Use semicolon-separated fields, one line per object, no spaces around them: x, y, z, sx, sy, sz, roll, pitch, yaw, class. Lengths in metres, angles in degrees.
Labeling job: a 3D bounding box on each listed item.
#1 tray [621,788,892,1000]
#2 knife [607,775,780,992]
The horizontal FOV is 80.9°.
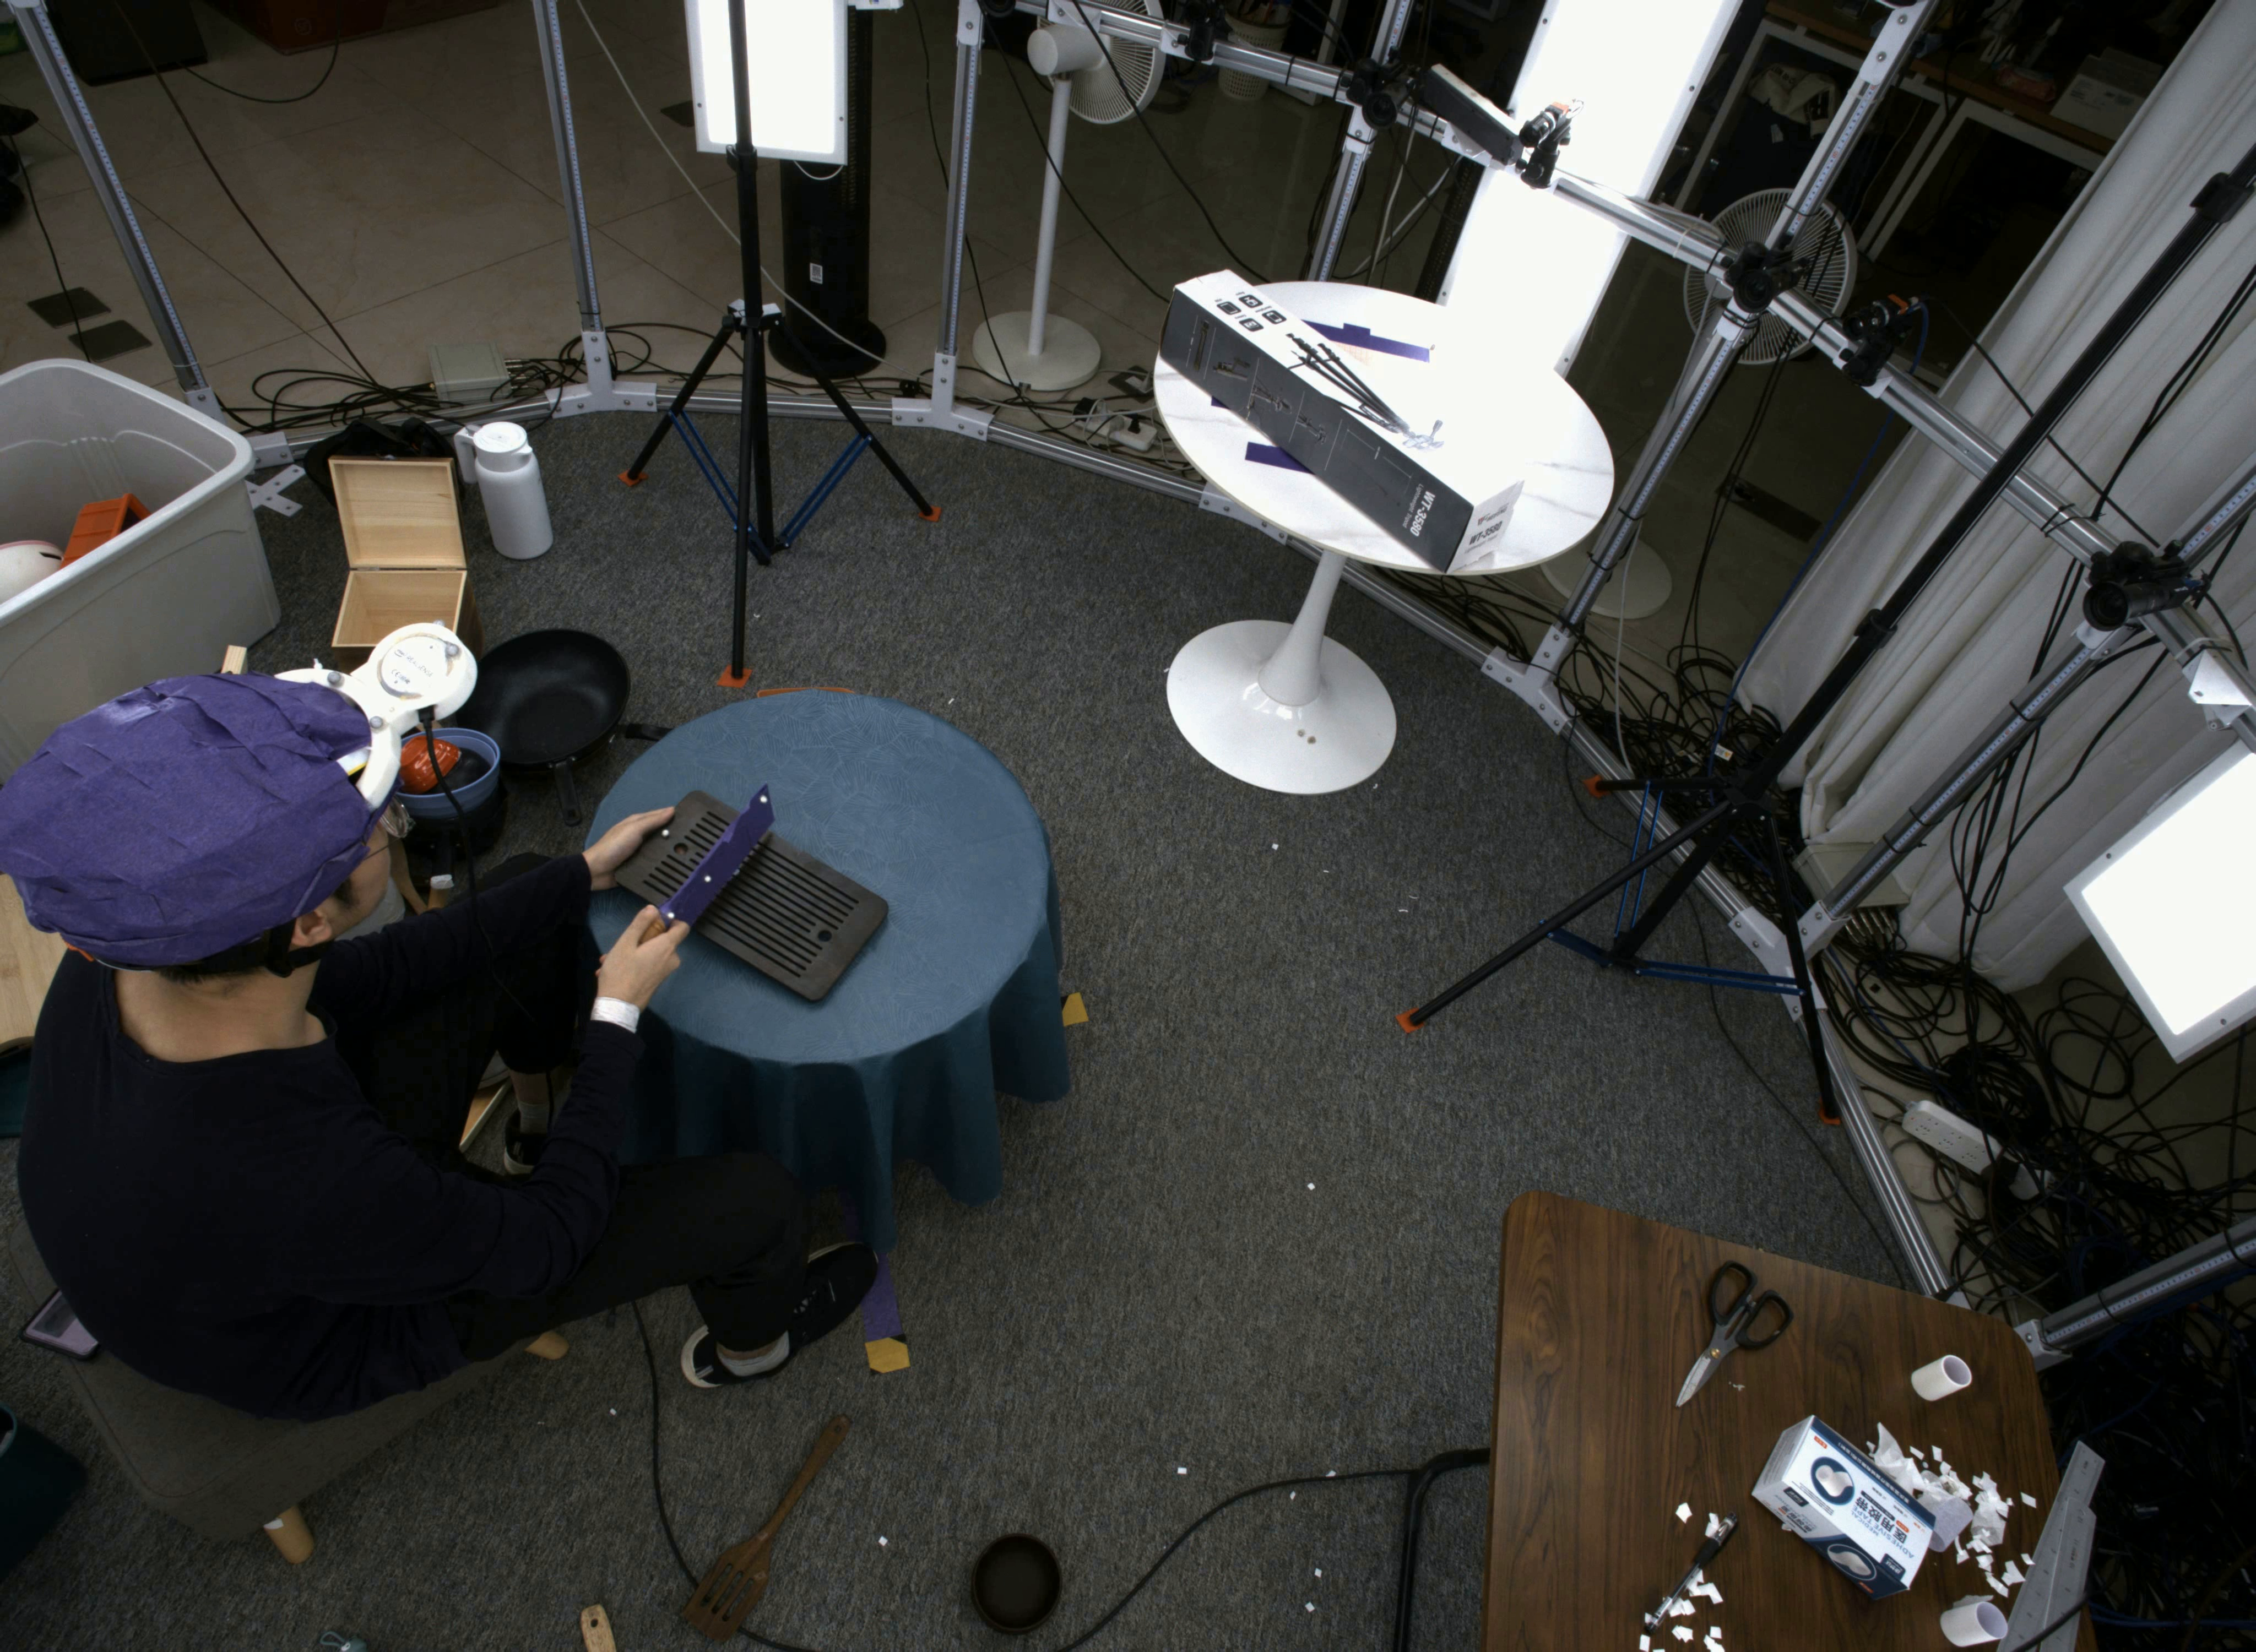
-0.467;0.082;1.630;0.304;0.019;0.169;31;53;0;tray
-0.510;0.078;1.546;0.031;0.106;0.314;26;59;12;knife
